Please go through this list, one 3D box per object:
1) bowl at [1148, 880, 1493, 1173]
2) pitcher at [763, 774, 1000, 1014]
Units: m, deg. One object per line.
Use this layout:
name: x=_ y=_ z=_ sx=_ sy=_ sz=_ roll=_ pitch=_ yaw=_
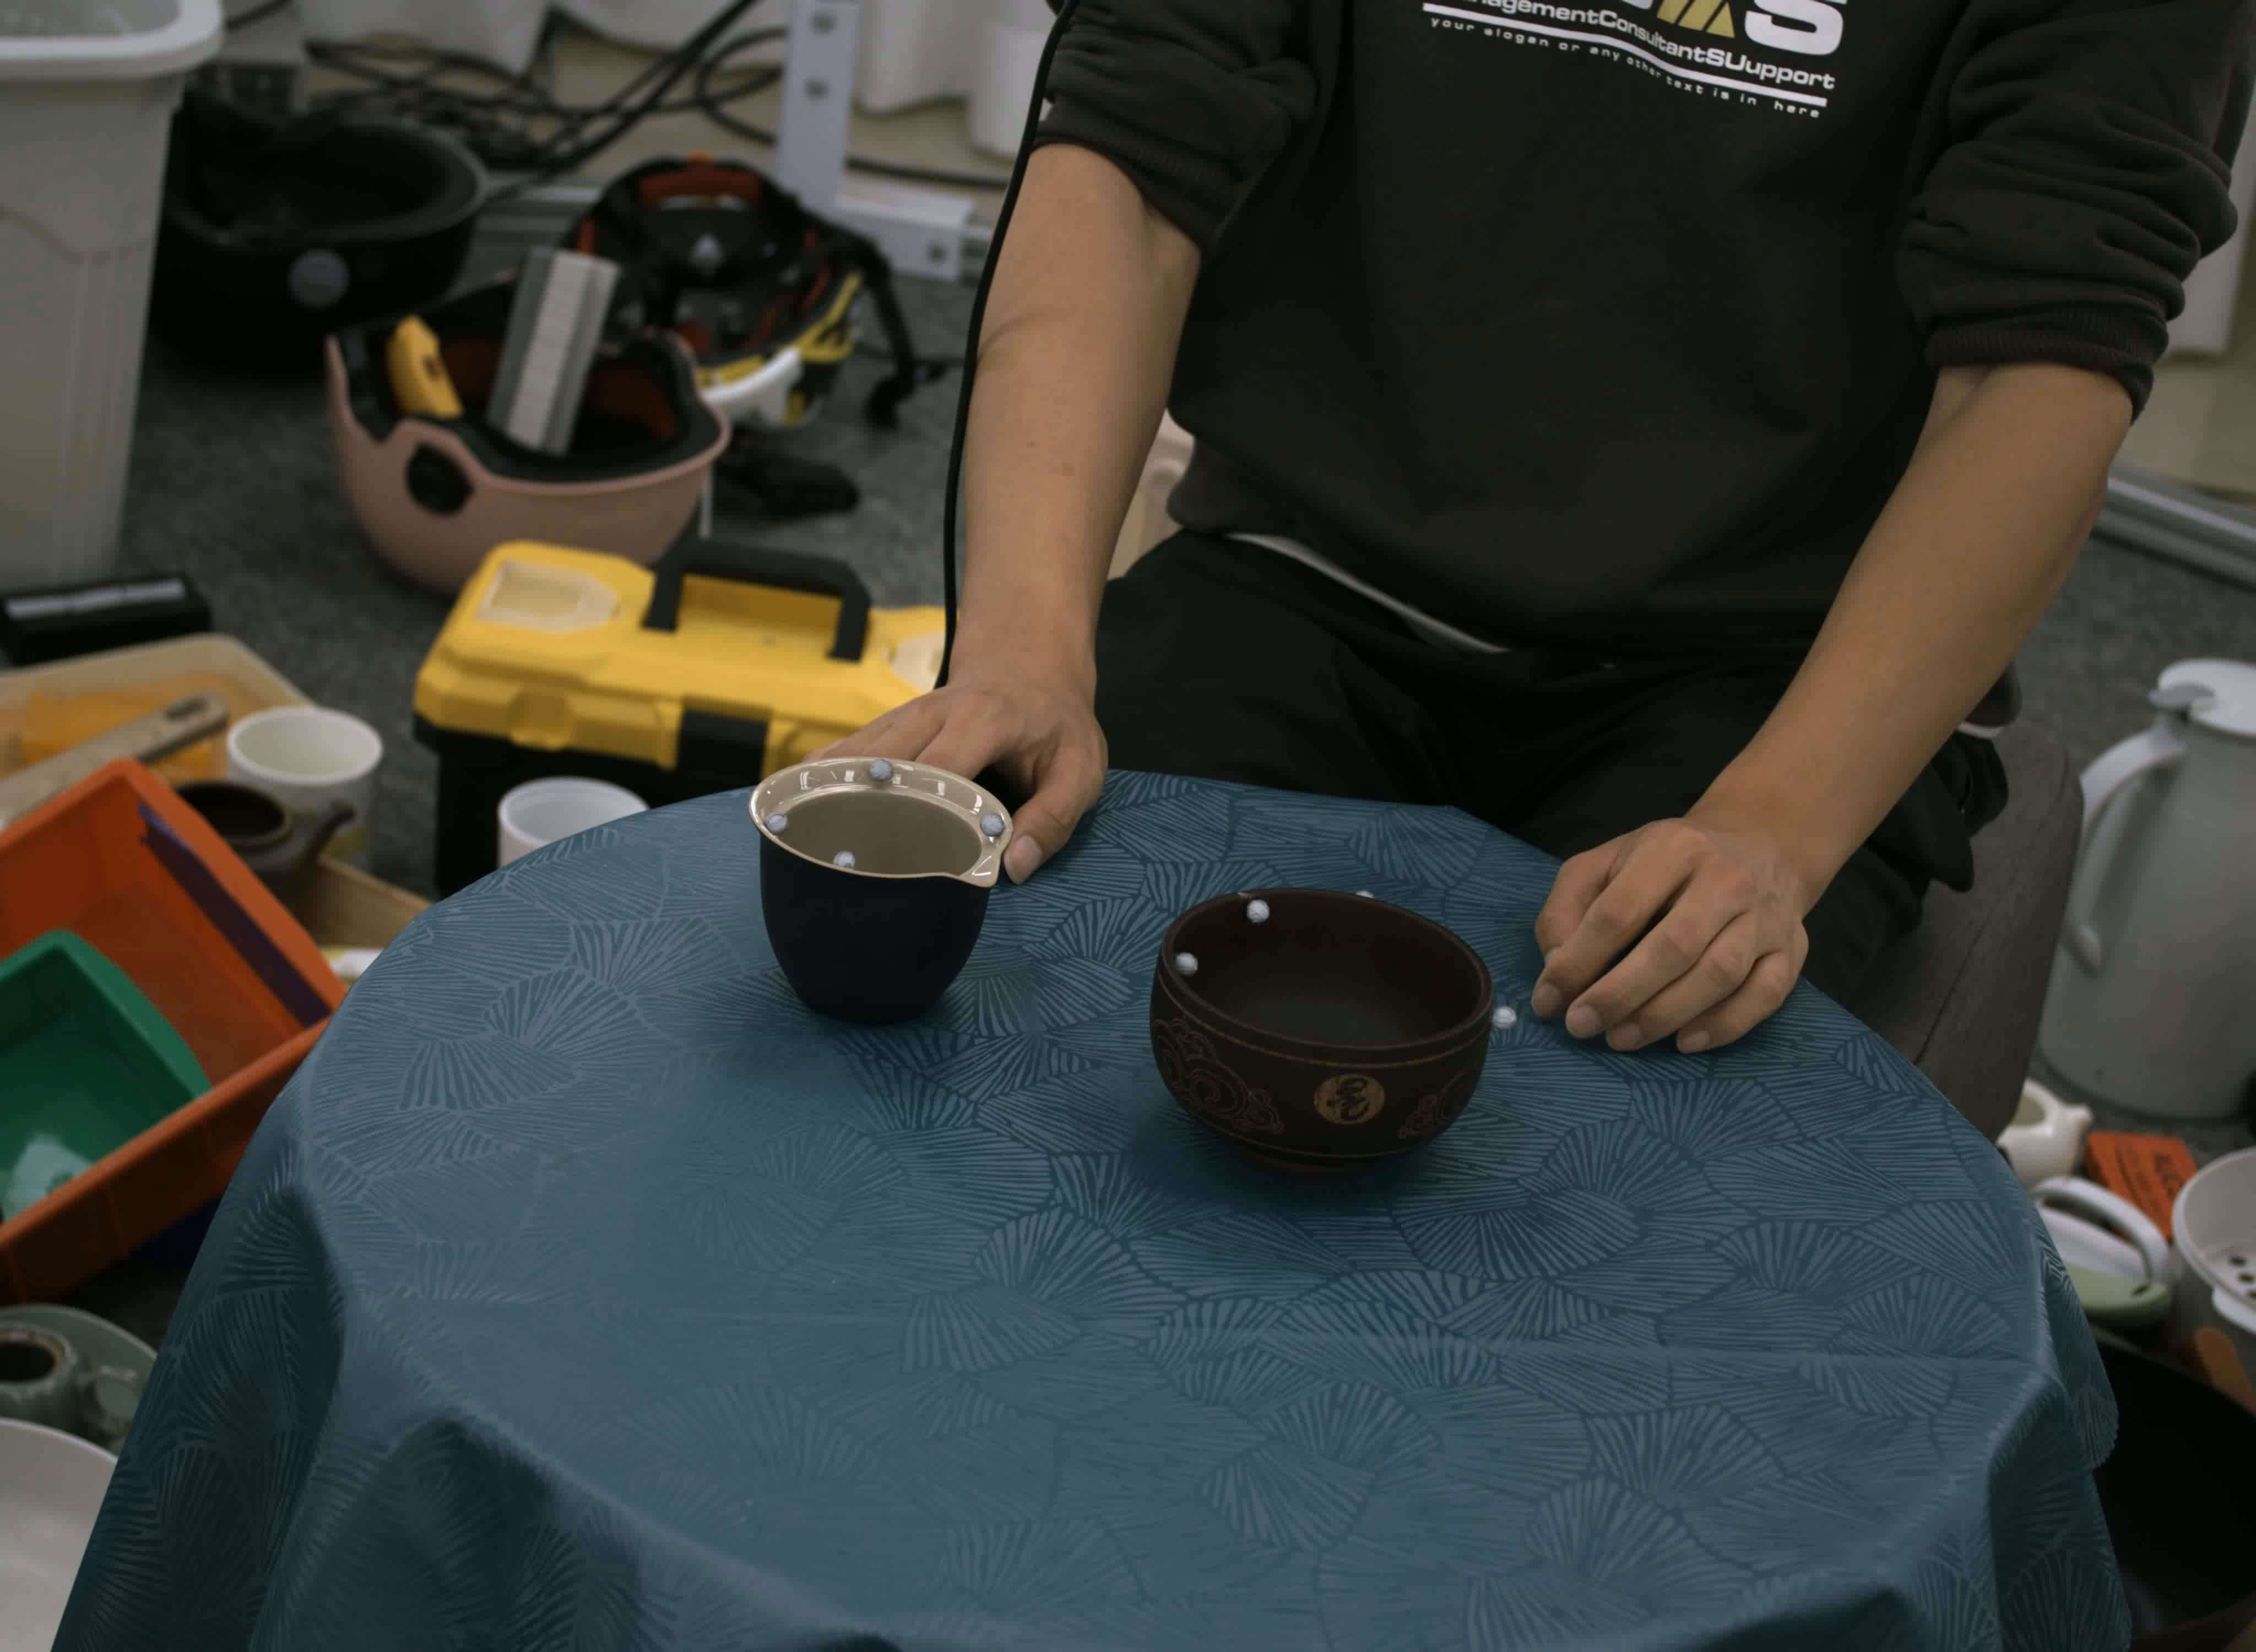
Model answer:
bowl: x=0.064 y=0.076 z=1.837 sx=0.117 sy=0.069 sz=0.119 roll=4 pitch=28 yaw=-3
pitcher: x=-0.087 y=0.027 z=1.895 sx=0.083 sy=0.071 sz=0.097 roll=-13 pitch=32 yaw=-38
